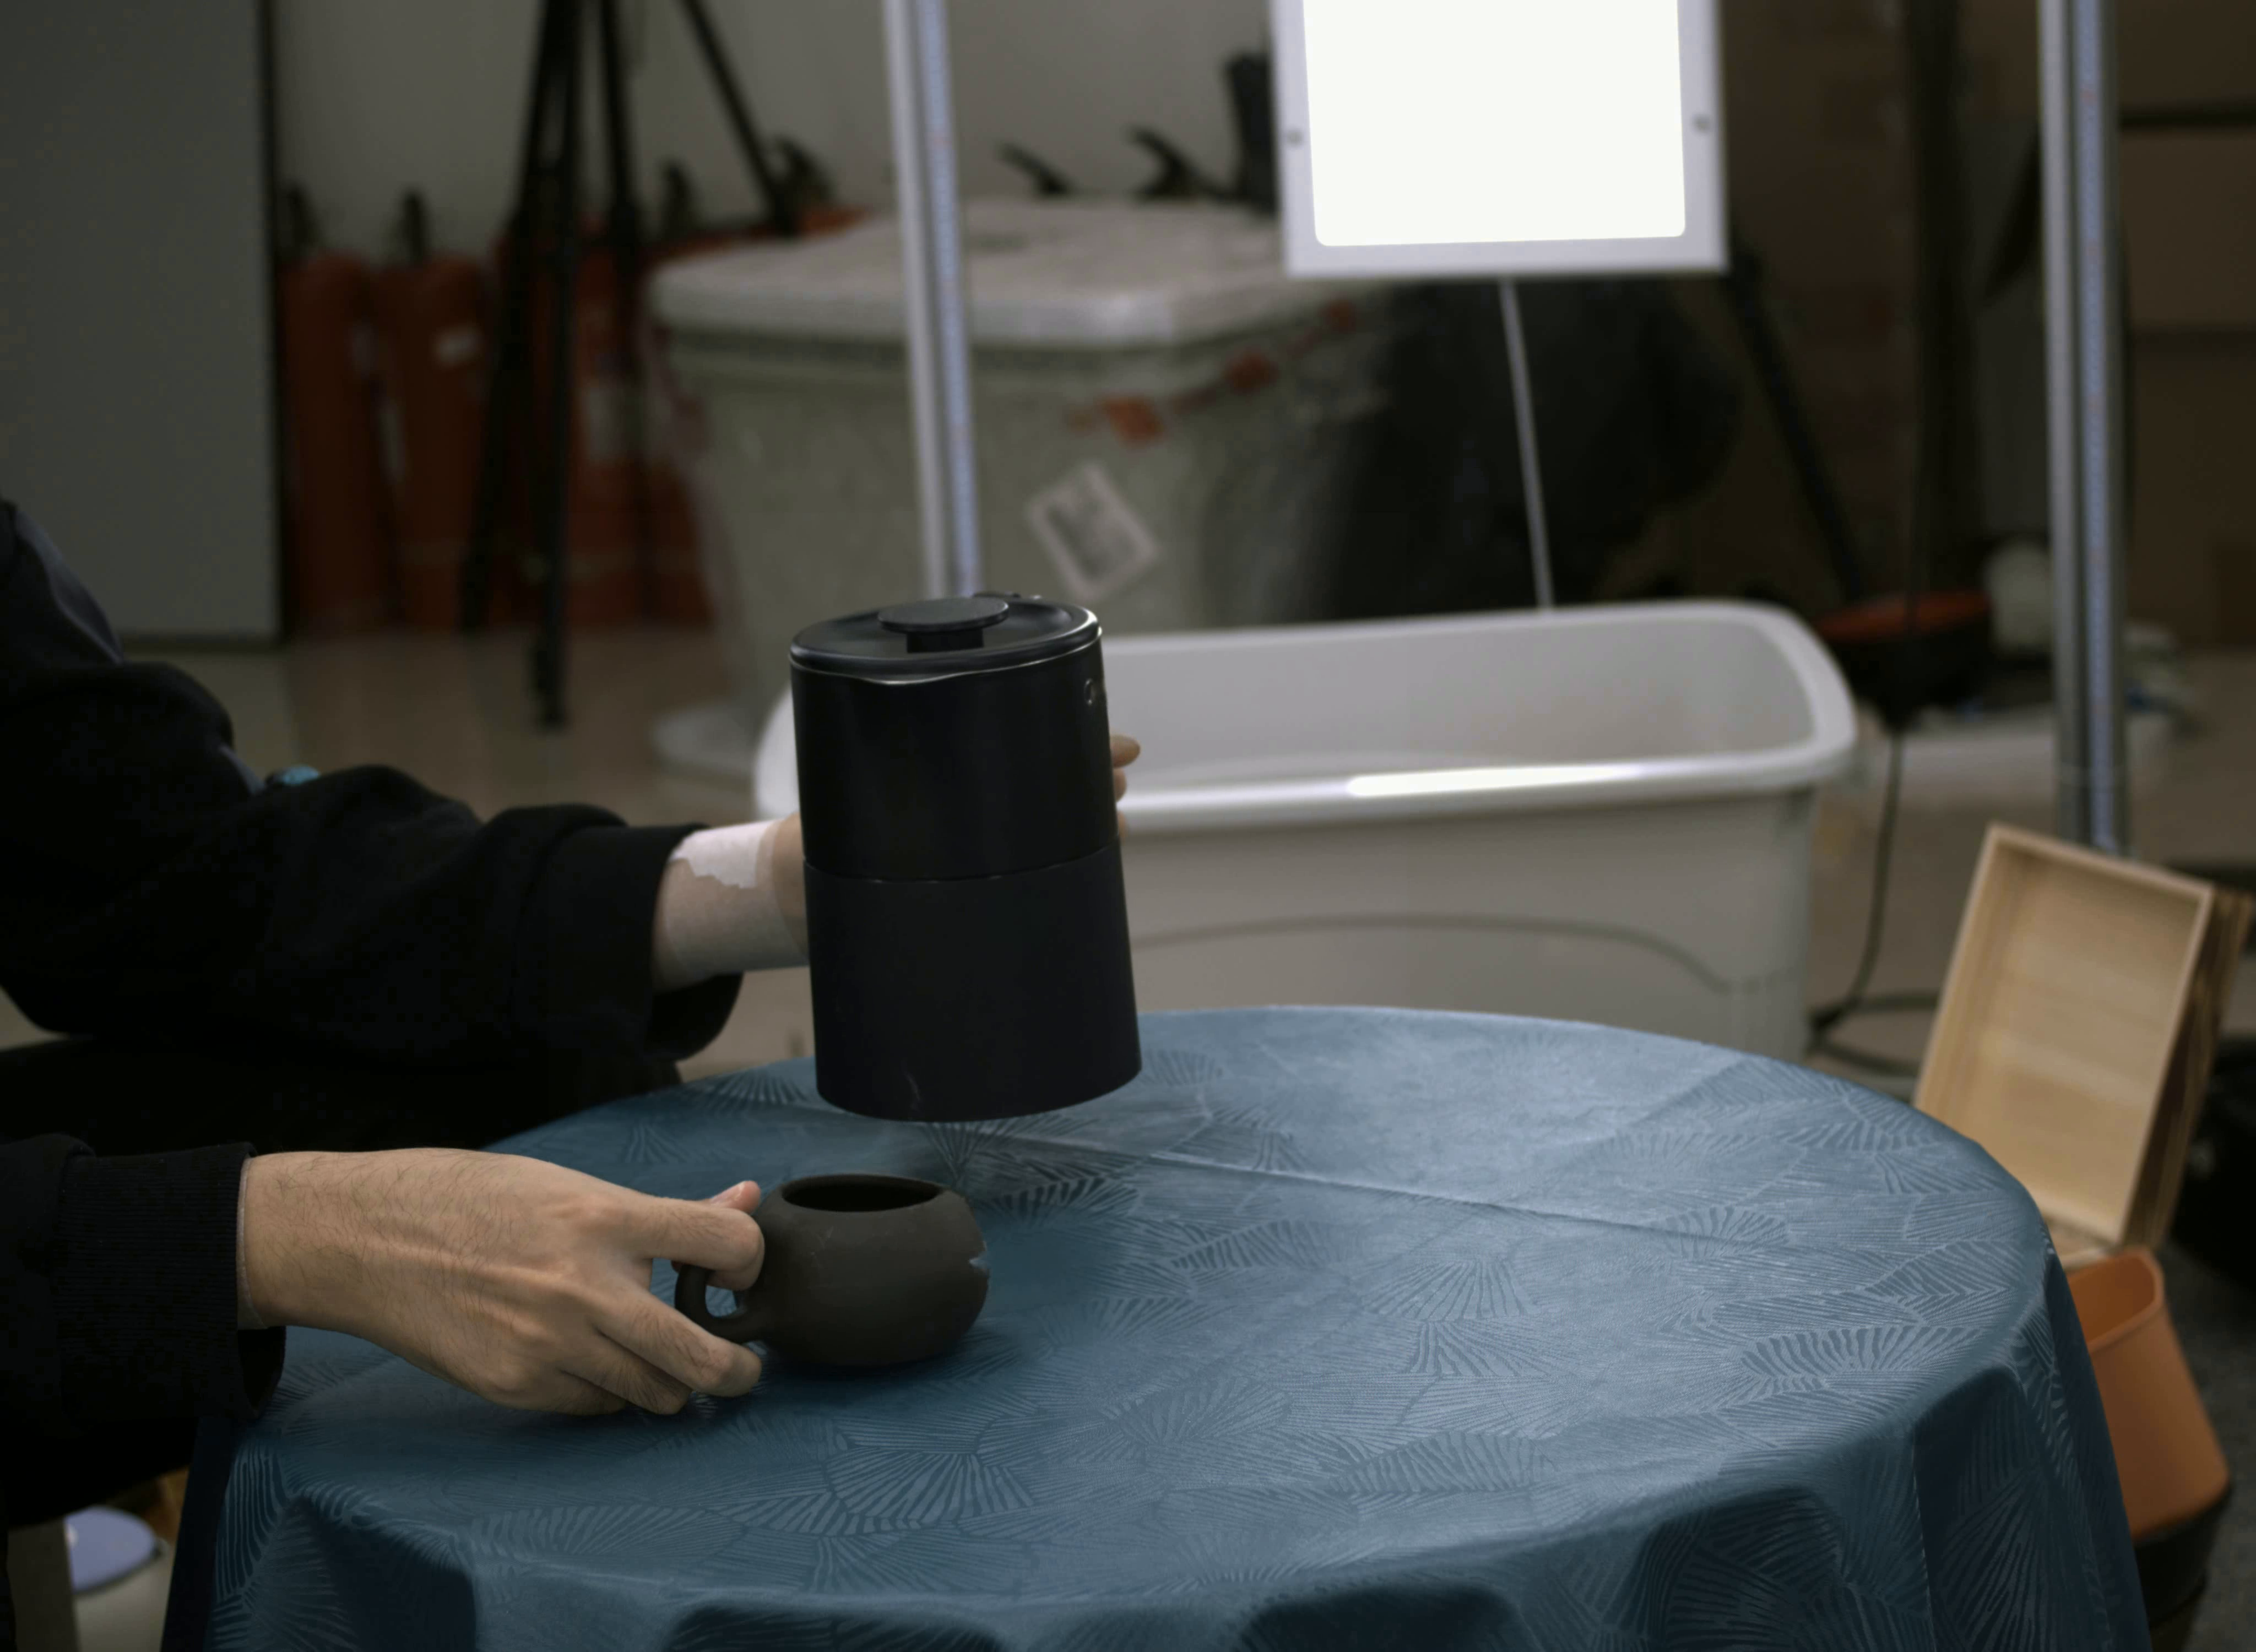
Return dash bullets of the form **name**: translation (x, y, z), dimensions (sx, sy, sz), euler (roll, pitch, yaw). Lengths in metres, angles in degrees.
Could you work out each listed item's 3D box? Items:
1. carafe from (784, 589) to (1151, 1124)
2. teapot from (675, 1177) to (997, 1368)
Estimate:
- **carafe**: translation (-0.054, 0.001, 1.917), dimensions (0.115, 0.174, 0.169), euler (-3, 15, 12)
- **teapot**: translation (-0.093, 0.142, 1.749), dimensions (0.111, 0.053, 0.084), euler (-4, 10, -31)
